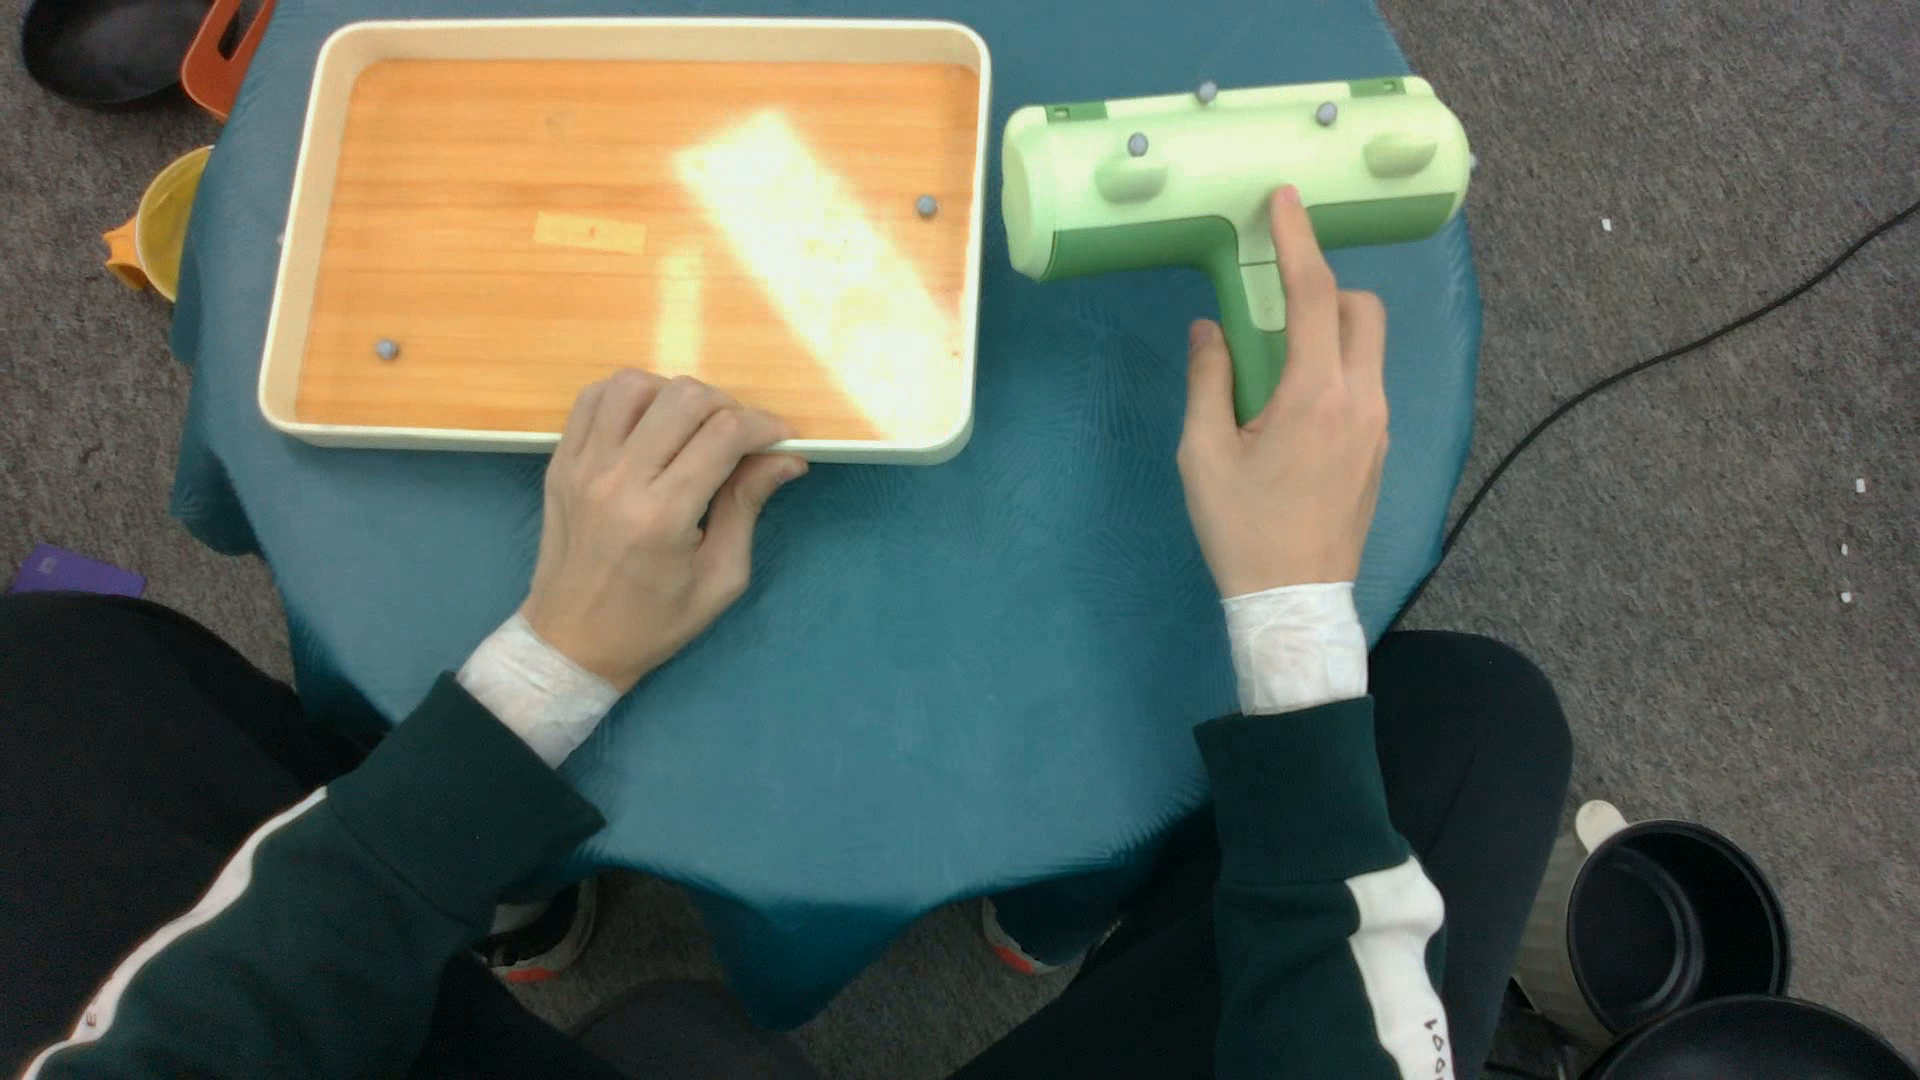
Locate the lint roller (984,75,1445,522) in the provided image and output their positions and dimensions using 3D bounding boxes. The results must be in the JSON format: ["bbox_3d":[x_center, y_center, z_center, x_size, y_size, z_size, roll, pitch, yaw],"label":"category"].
[{"bbox_3d":[0.120,-0.103,0.571,0.199,0.082,0.183,-8,77,-12],"label":"lint roller"}]

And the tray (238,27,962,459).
[{"bbox_3d":[-0.150,-0.129,0.595,0.300,0.027,0.192,1,77,3],"label":"tray"}]
